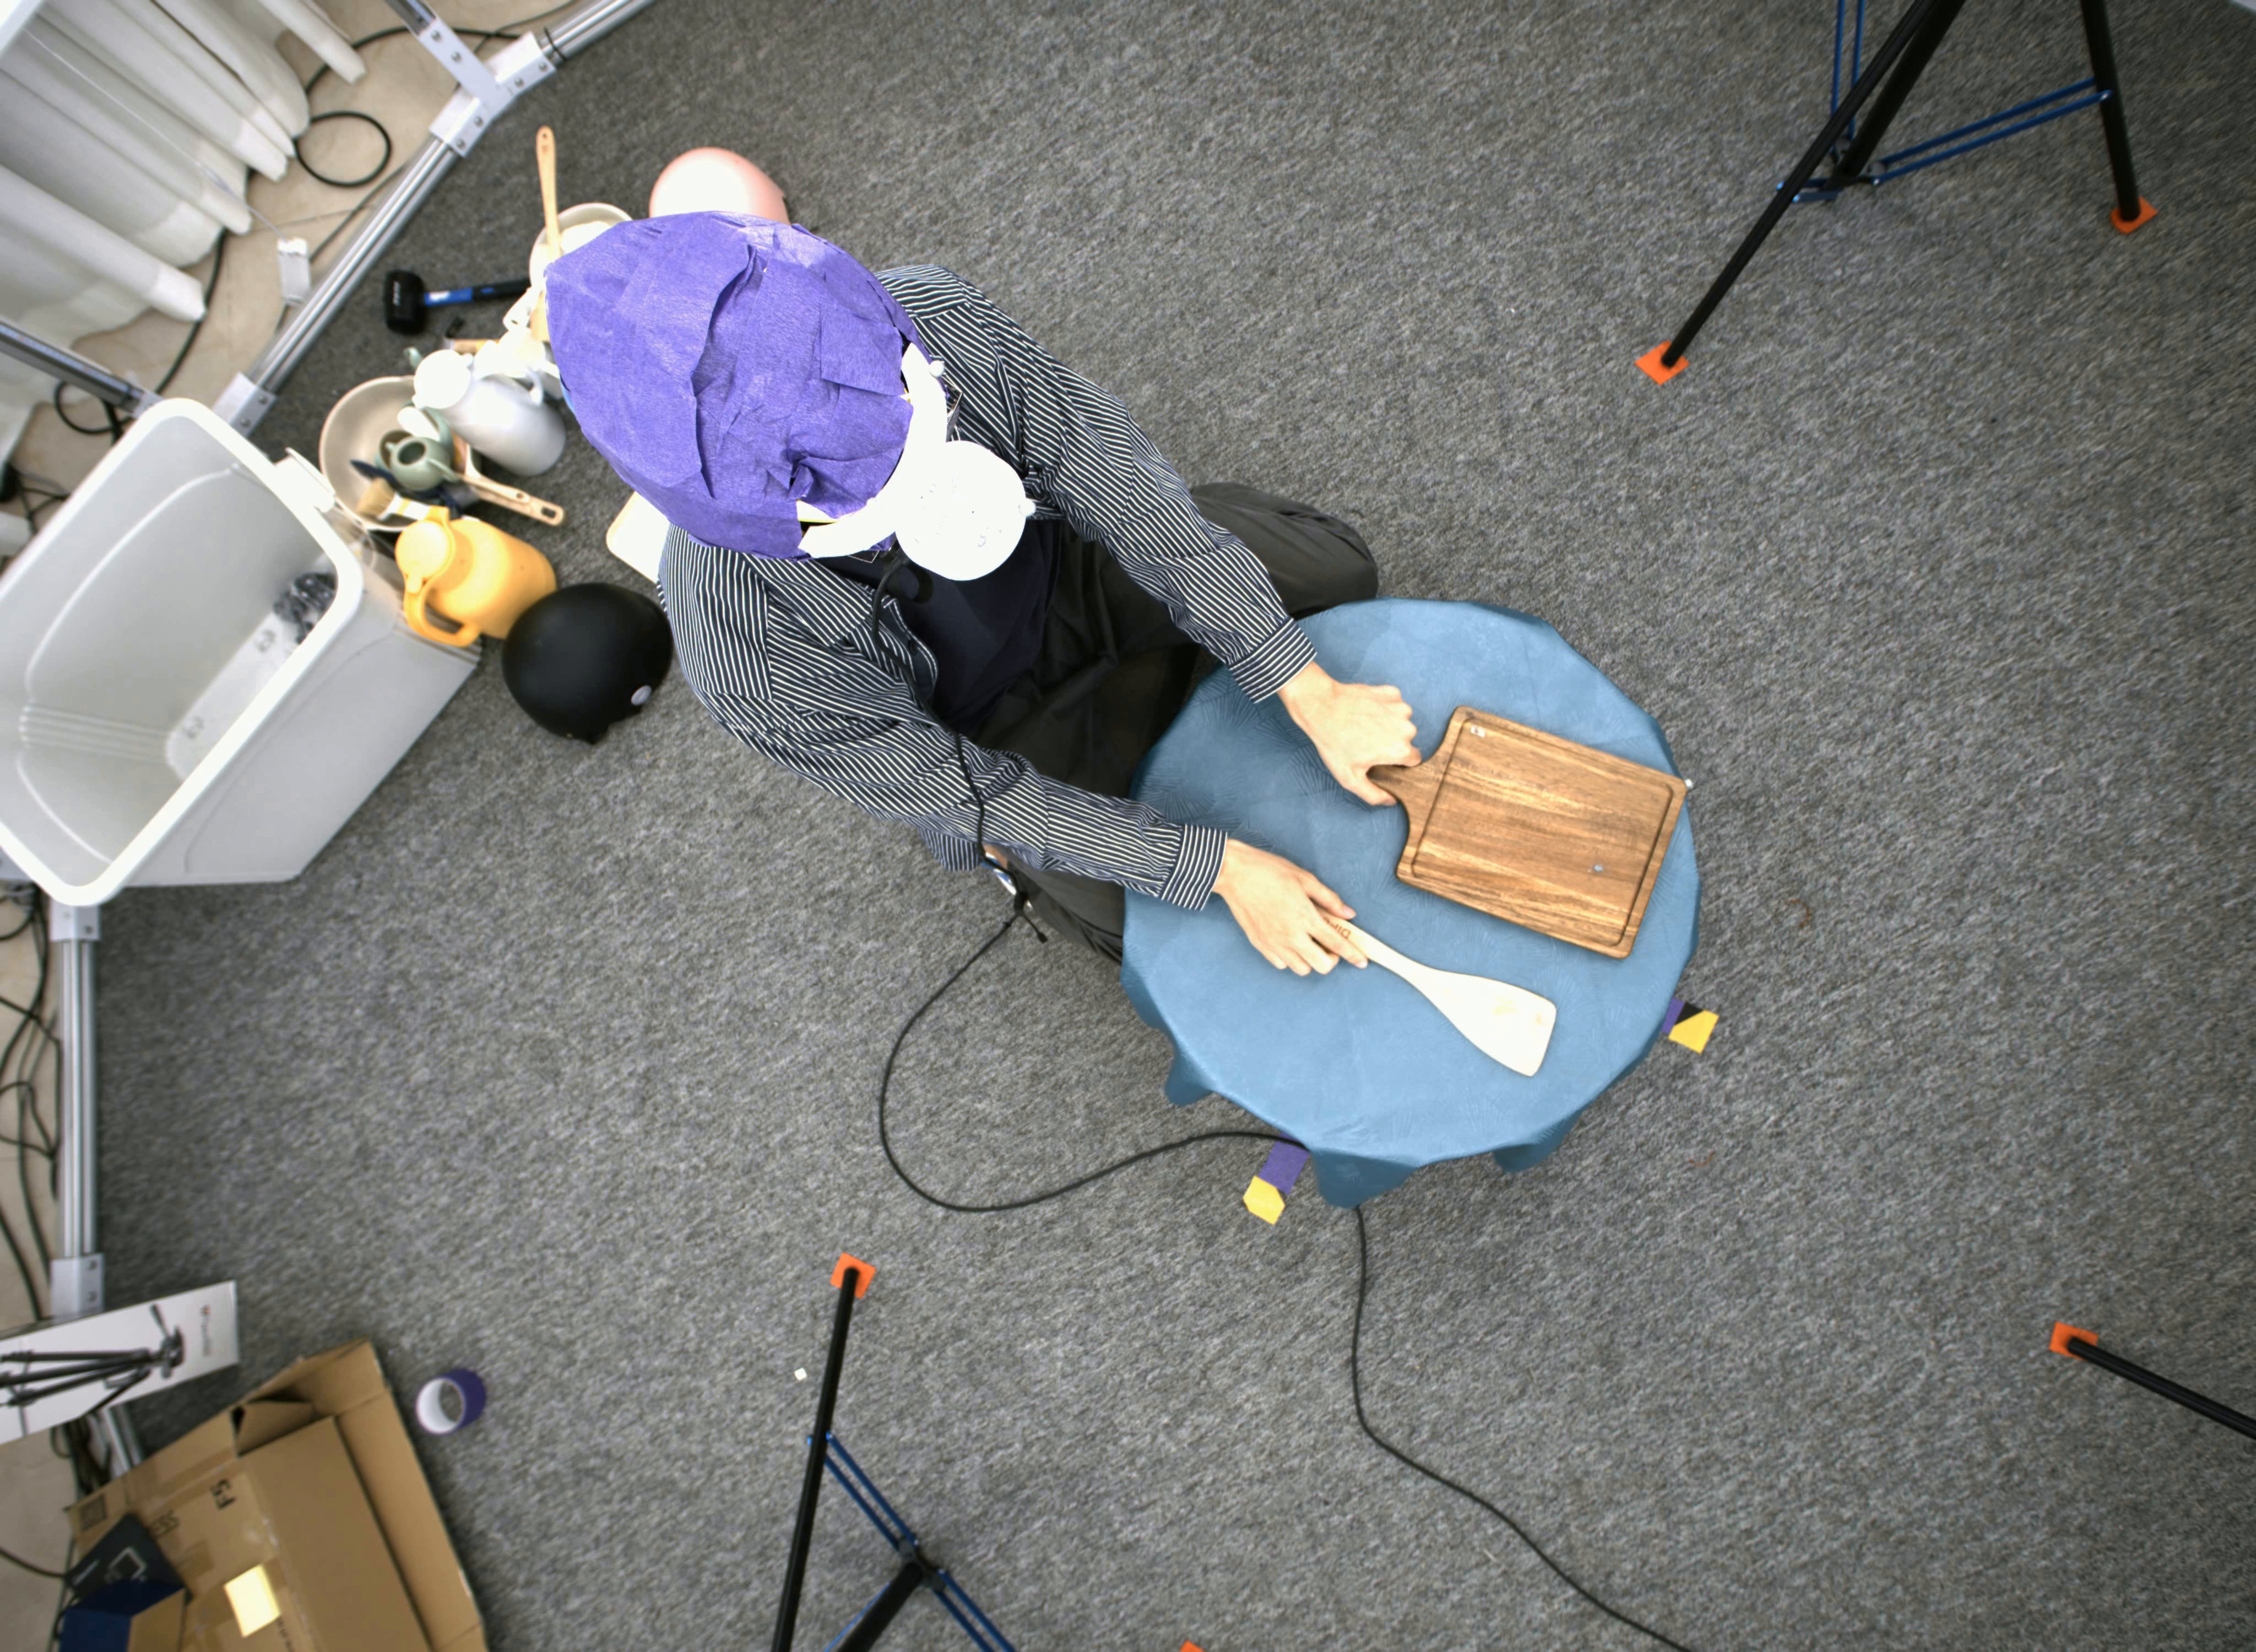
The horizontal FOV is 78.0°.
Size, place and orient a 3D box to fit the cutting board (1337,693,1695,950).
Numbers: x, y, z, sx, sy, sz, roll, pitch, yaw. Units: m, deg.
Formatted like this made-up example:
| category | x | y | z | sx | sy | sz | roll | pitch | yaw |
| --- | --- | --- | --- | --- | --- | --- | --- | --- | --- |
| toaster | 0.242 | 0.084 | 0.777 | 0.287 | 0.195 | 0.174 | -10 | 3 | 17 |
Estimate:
| category | x | y | z | sx | sy | sz | roll | pitch | yaw |
| --- | --- | --- | --- | --- | --- | --- | --- | --- | --- |
| cutting board | 0.384 | -0.026 | 1.416 | 0.352 | 0.023 | 0.201 | 21 | 91 | 8 |

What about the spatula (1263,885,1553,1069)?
| category | x | y | z | sx | sy | sz | roll | pitch | yaw |
| --- | --- | --- | --- | --- | --- | --- | --- | --- | --- |
| spatula | 0.288 | 0.141 | 1.432 | 0.327 | 0.016 | 0.080 | 27 | 91 | 7 |
